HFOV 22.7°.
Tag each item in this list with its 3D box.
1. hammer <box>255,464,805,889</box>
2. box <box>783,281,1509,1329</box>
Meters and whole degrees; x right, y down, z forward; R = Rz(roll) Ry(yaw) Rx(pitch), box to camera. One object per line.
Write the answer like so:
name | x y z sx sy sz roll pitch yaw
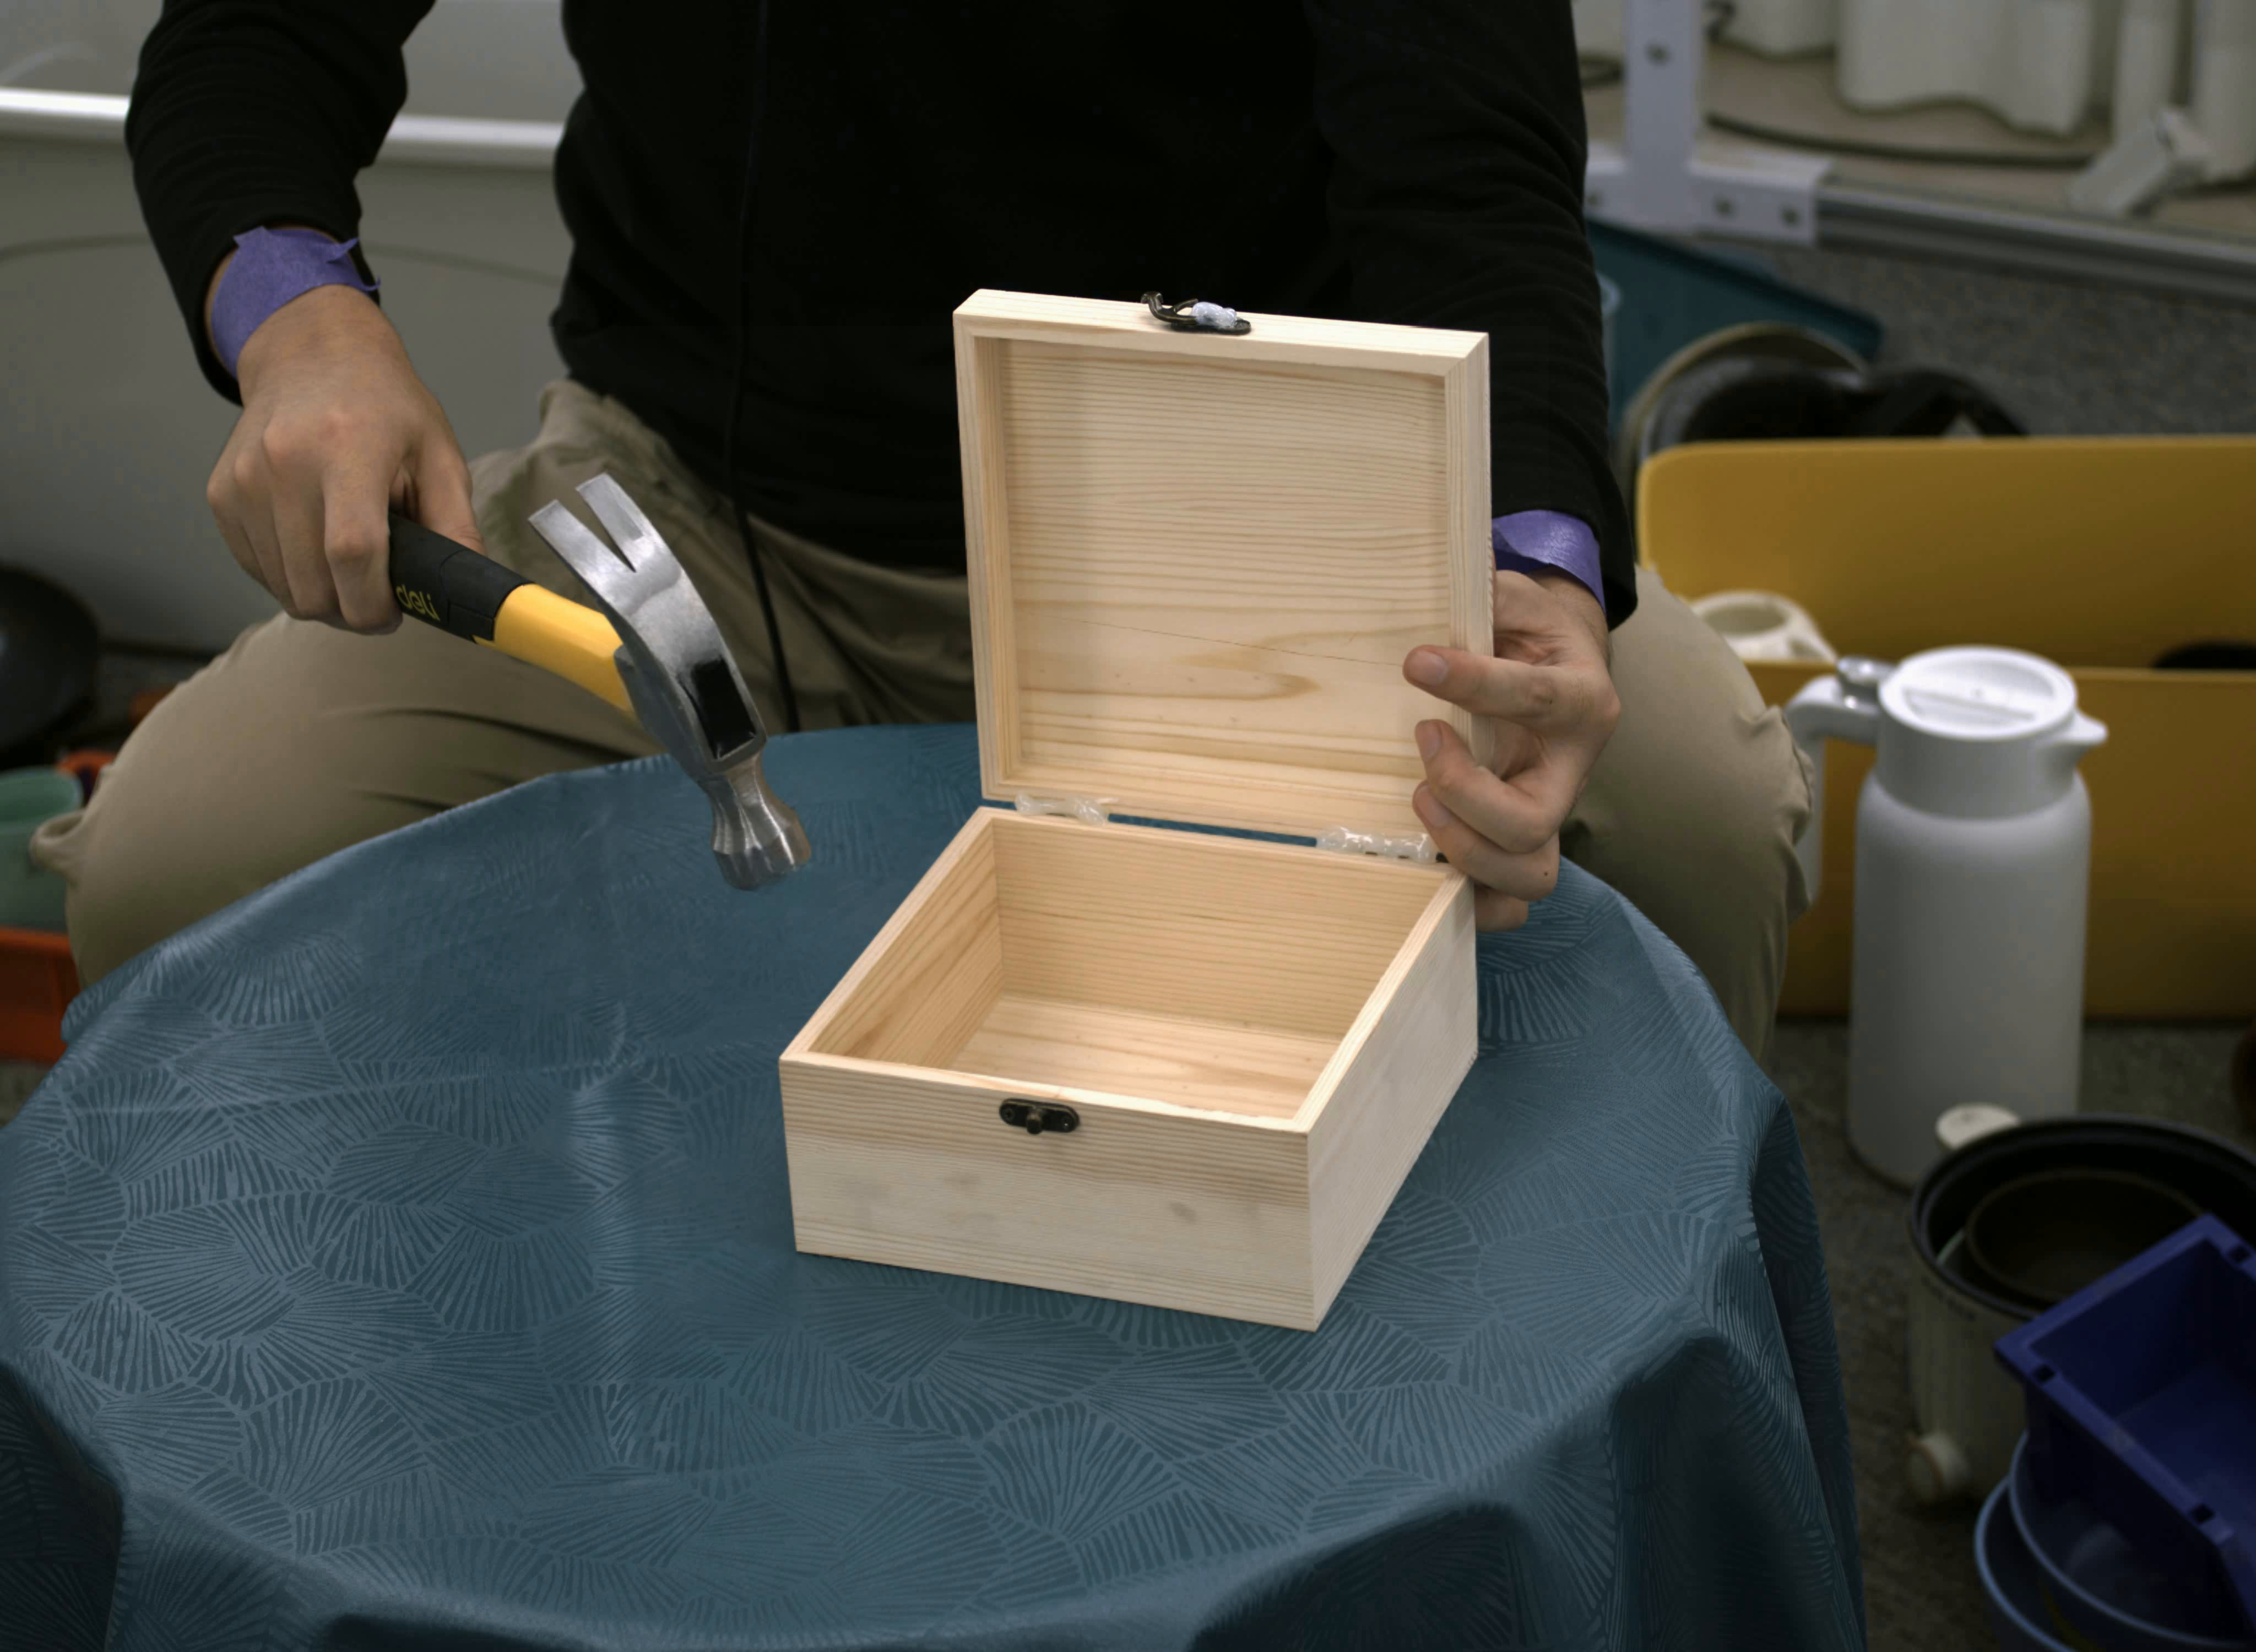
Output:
hammer | -0.216 -0.076 1.905 0.032 0.130 0.338 -30 27 -22
box | 0.010 -0.016 1.855 0.180 0.251 0.270 4 28 19
